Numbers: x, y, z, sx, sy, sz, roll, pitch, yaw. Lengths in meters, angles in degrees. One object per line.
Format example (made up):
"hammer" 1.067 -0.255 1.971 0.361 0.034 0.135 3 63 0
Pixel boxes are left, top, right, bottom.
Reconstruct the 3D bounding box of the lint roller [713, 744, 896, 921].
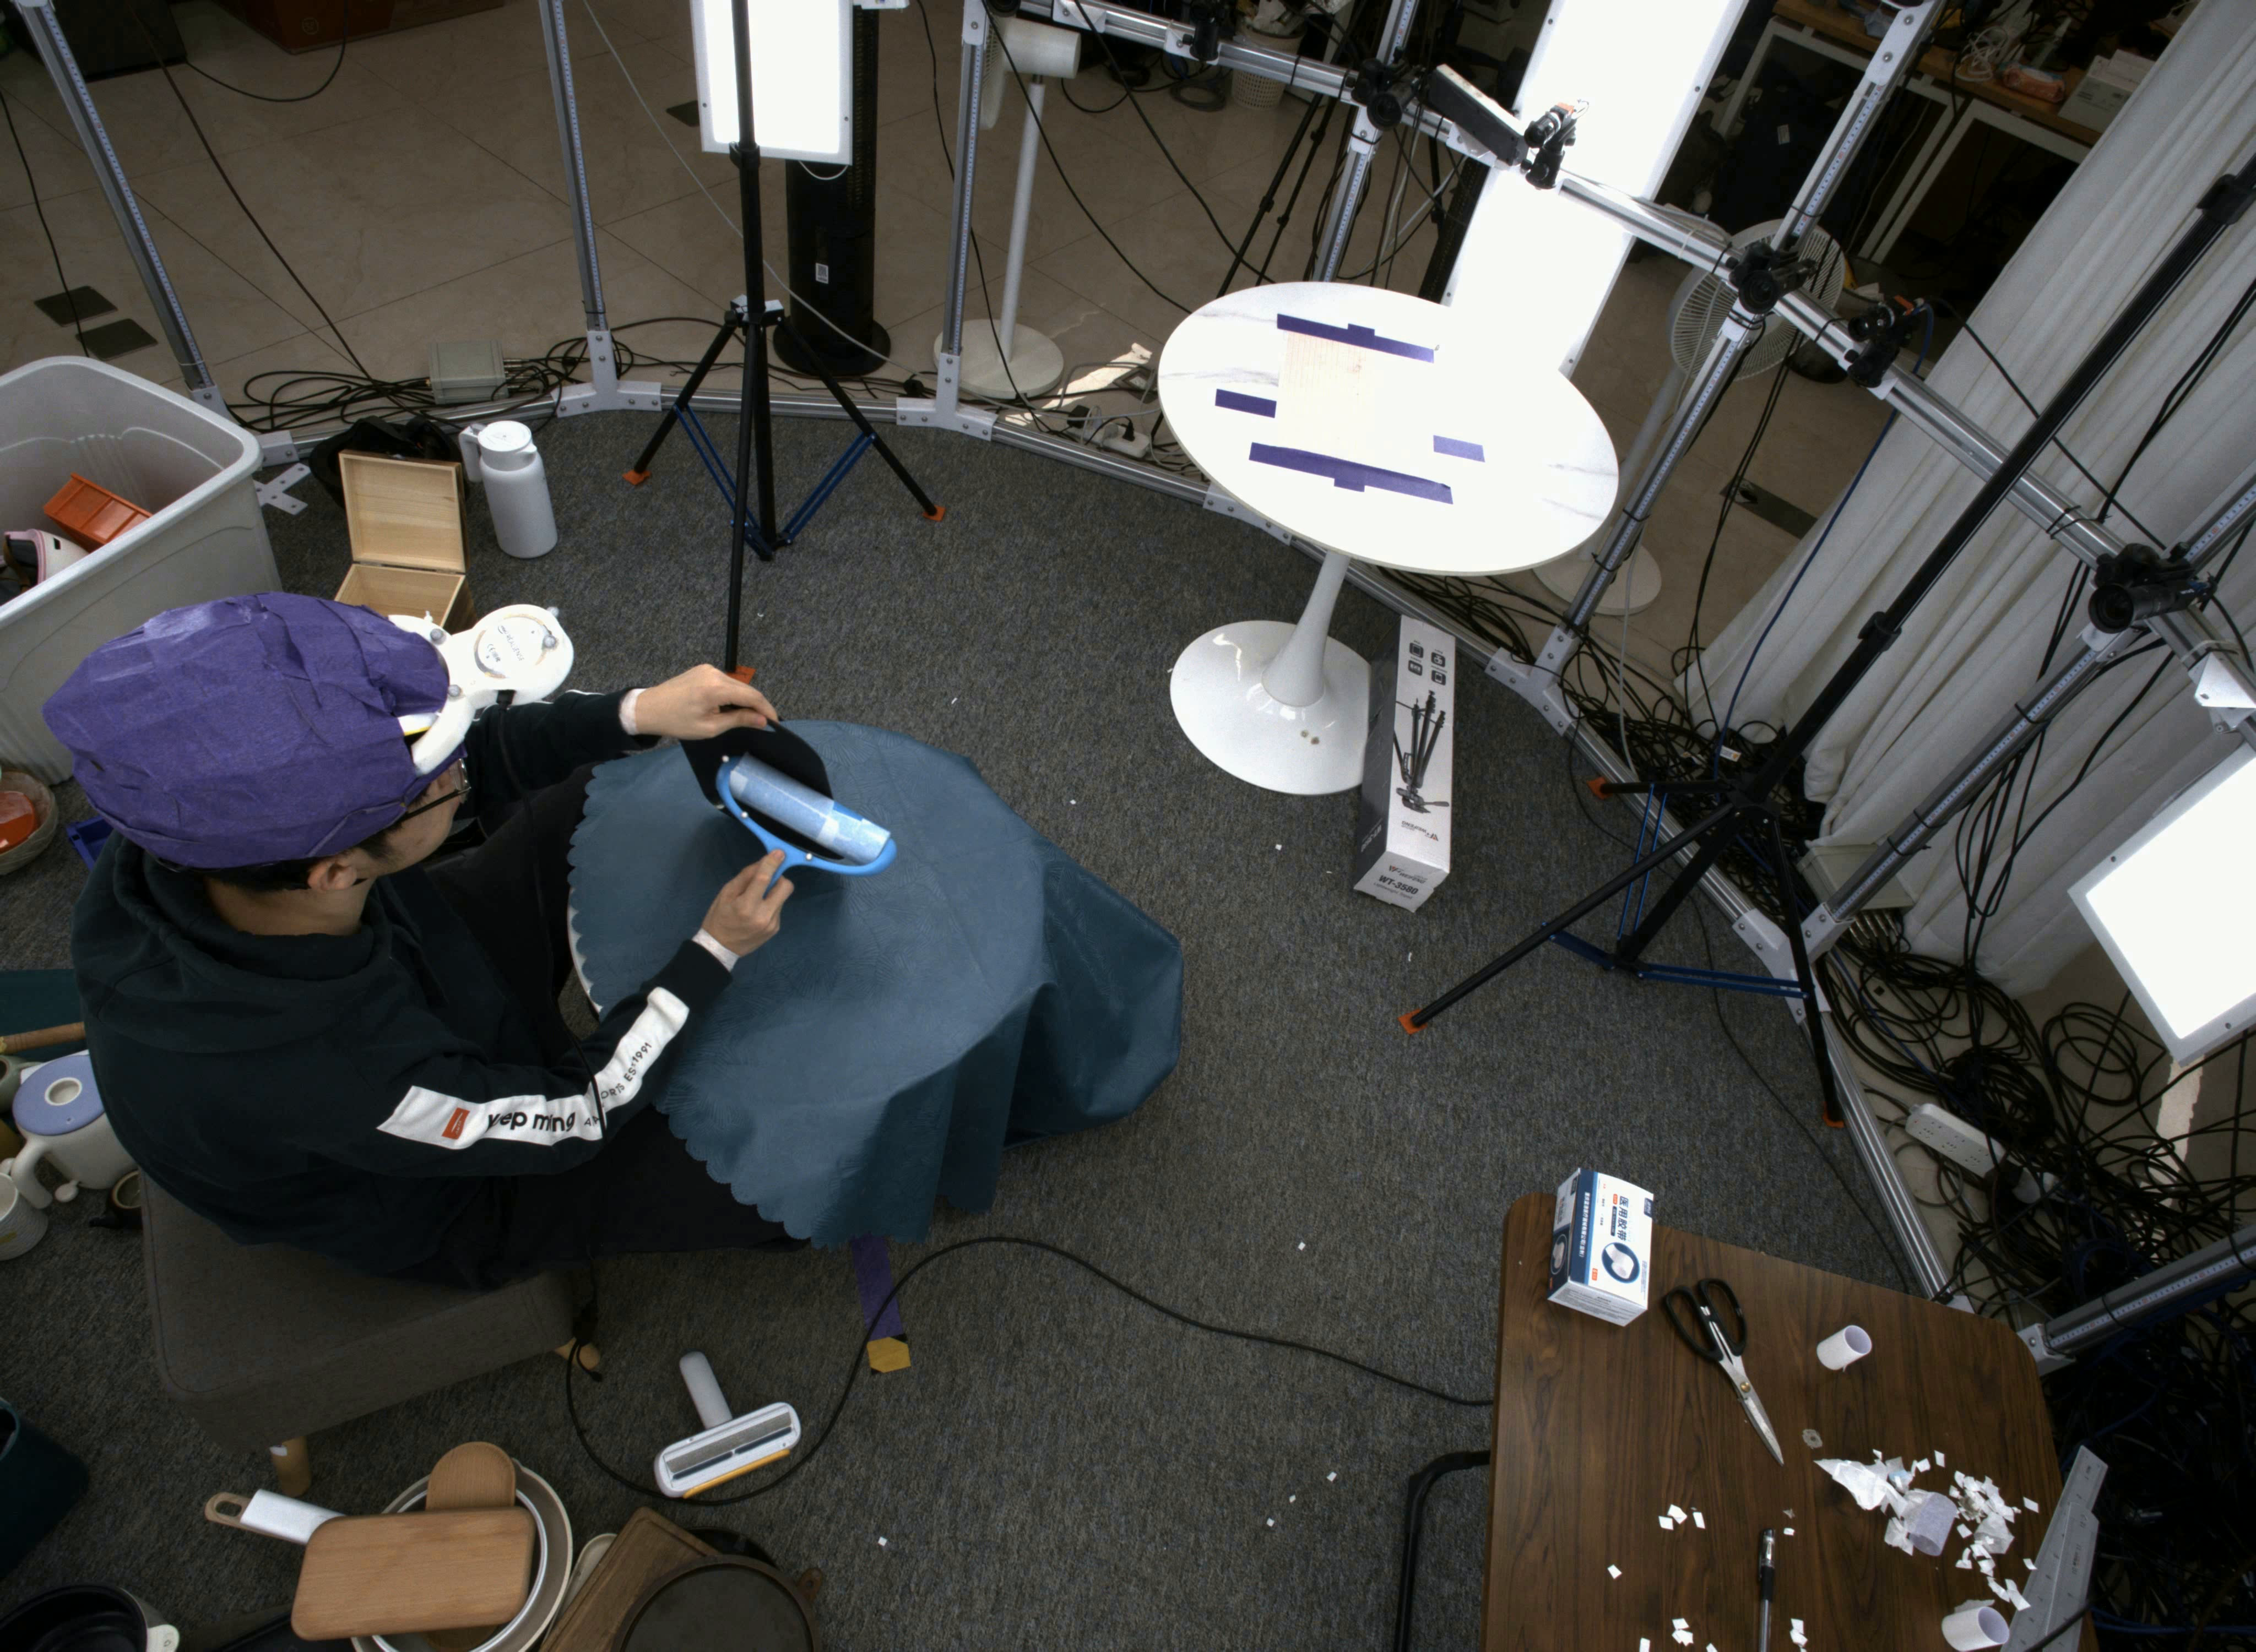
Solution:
"lint roller" -0.400 0.029 1.505 0.232 0.067 0.181 28 84 -16

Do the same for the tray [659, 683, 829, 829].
"tray" -0.450 -0.065 1.562 0.208 0.332 0.010 20 63 7
